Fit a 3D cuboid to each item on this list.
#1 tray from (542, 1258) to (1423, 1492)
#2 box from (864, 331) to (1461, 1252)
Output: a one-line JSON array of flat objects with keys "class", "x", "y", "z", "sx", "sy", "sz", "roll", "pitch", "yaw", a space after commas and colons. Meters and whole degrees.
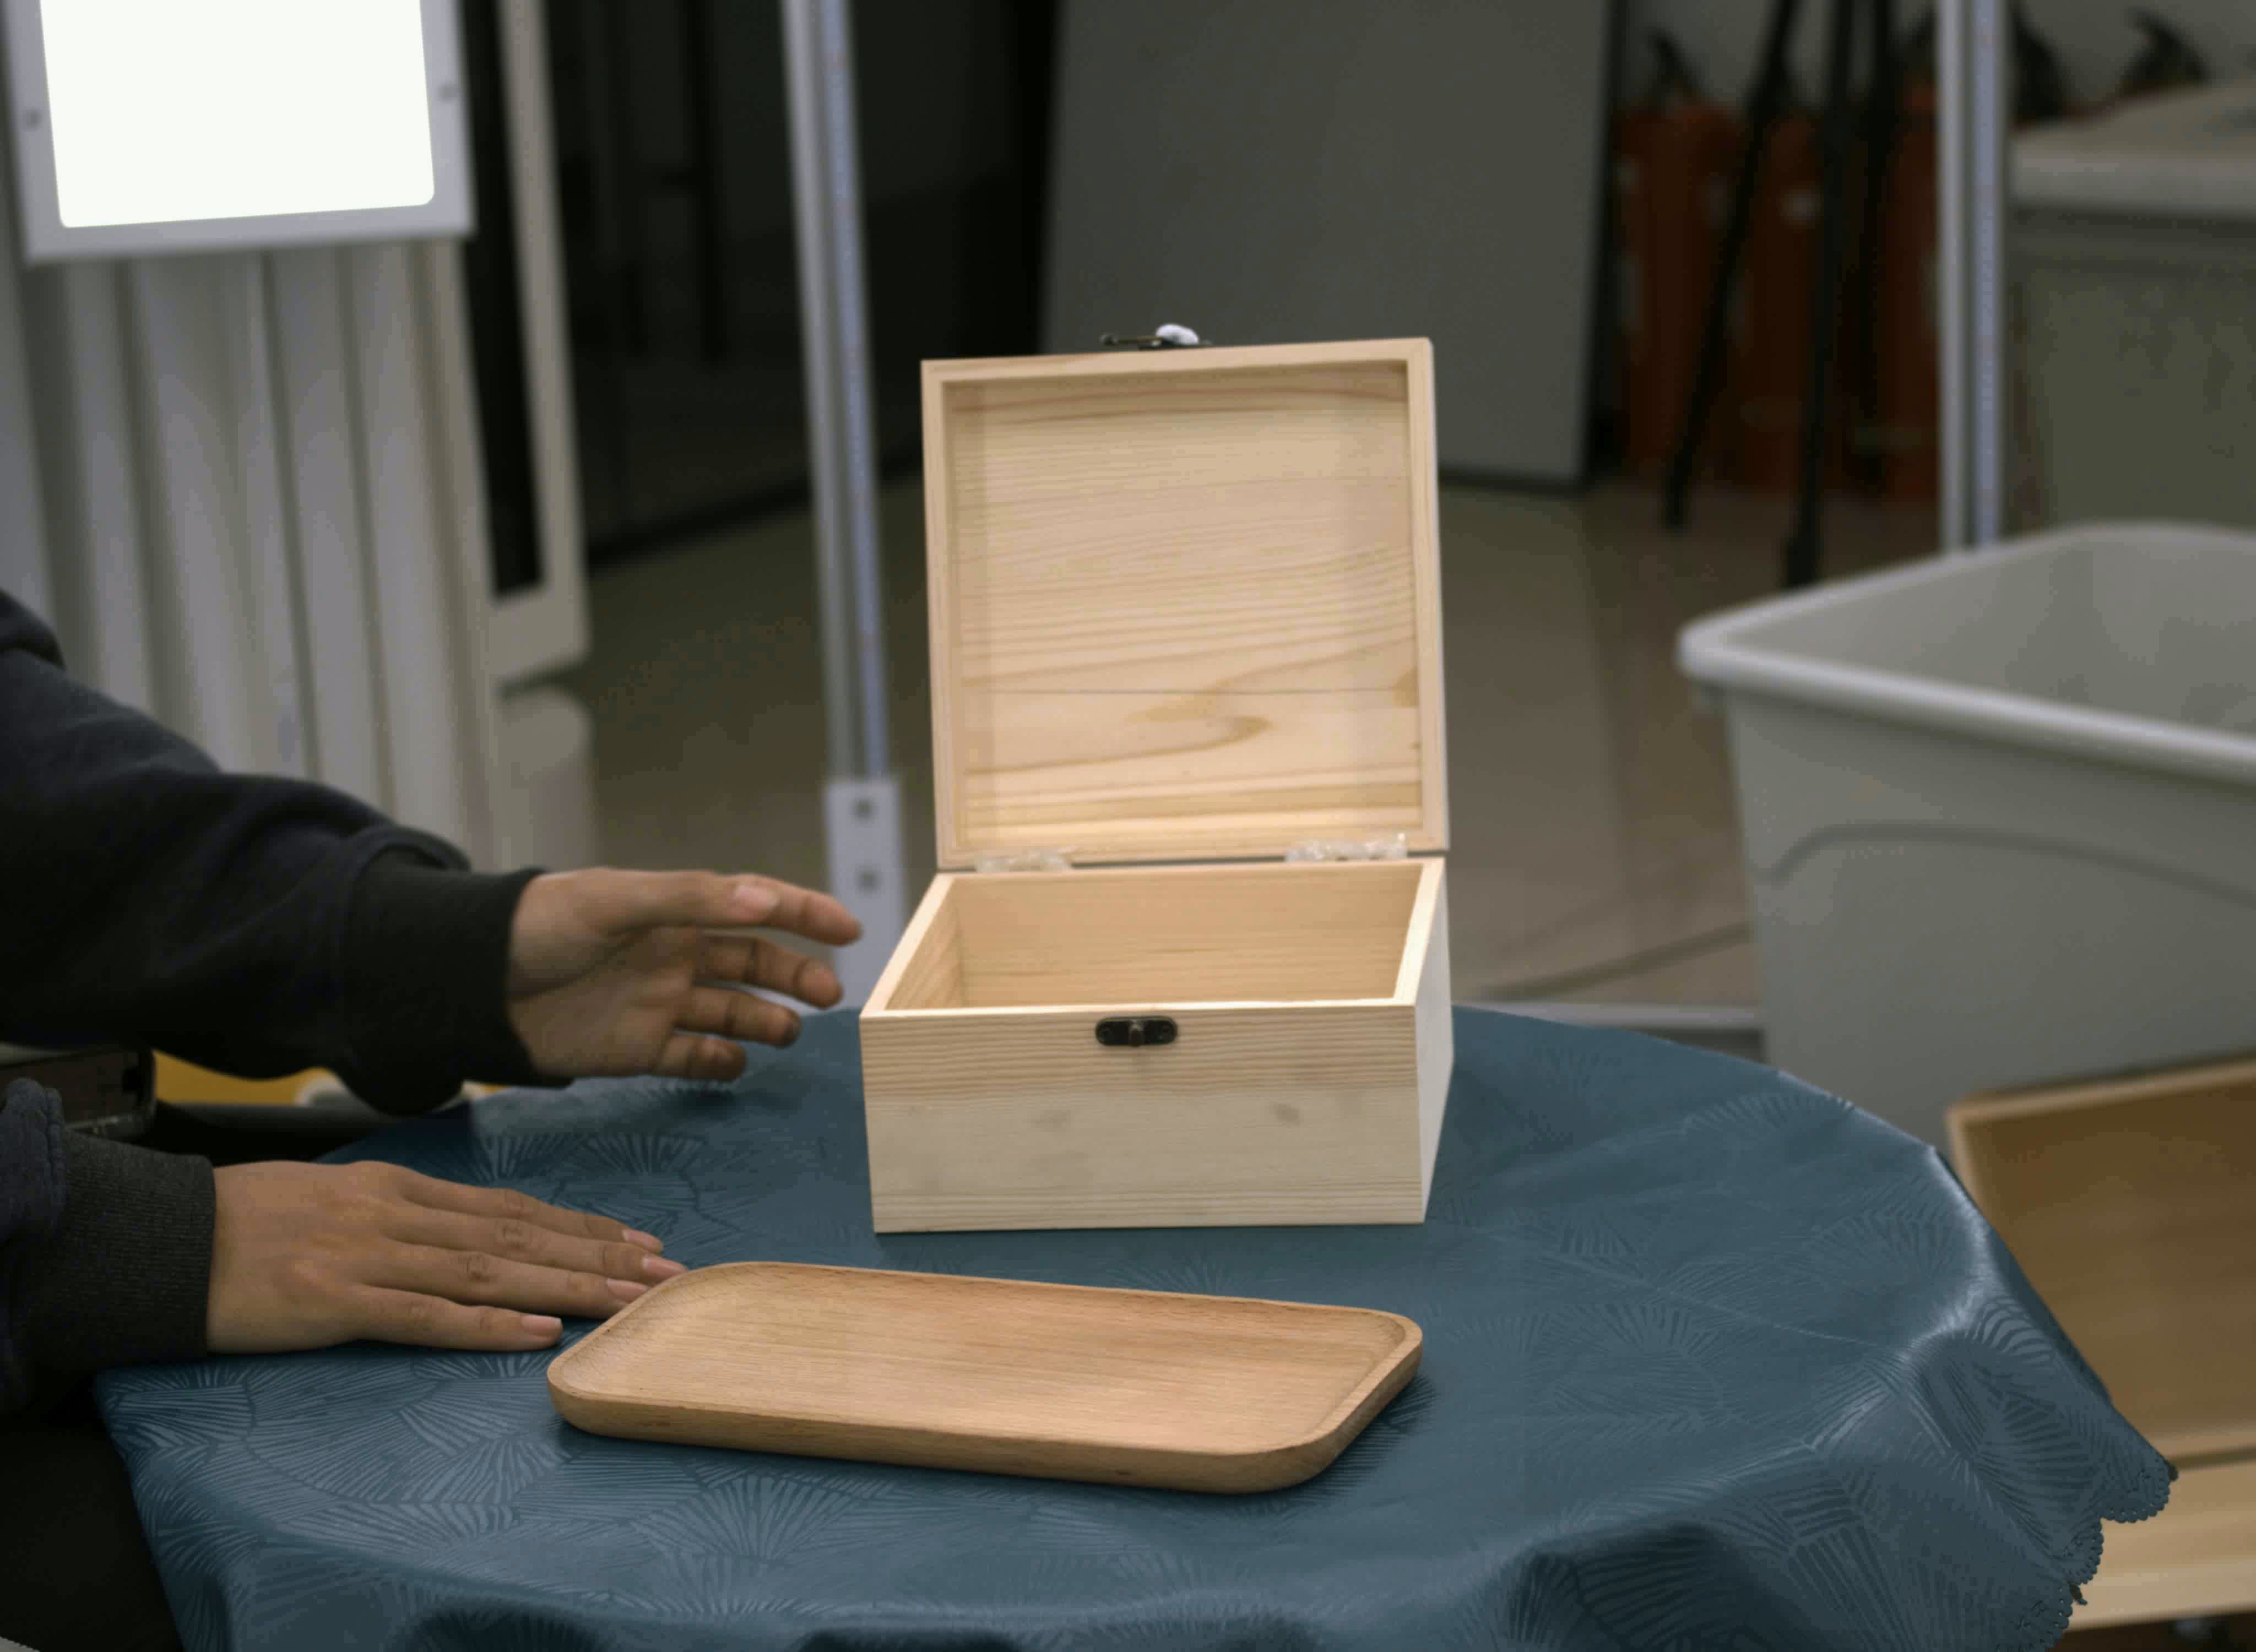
[{"class": "tray", "x": -0.043, "y": 0.160, "z": 1.583, "sx": 0.251, "sy": 0.023, "sz": 0.129, "roll": 2, "pitch": 12, "yaw": 24}, {"class": "box", "x": 0.011, "y": -0.019, "z": 1.821, "sx": 0.180, "sy": 0.256, "sz": 0.264, "roll": -5, "pitch": 12, "yaw": 7}]
